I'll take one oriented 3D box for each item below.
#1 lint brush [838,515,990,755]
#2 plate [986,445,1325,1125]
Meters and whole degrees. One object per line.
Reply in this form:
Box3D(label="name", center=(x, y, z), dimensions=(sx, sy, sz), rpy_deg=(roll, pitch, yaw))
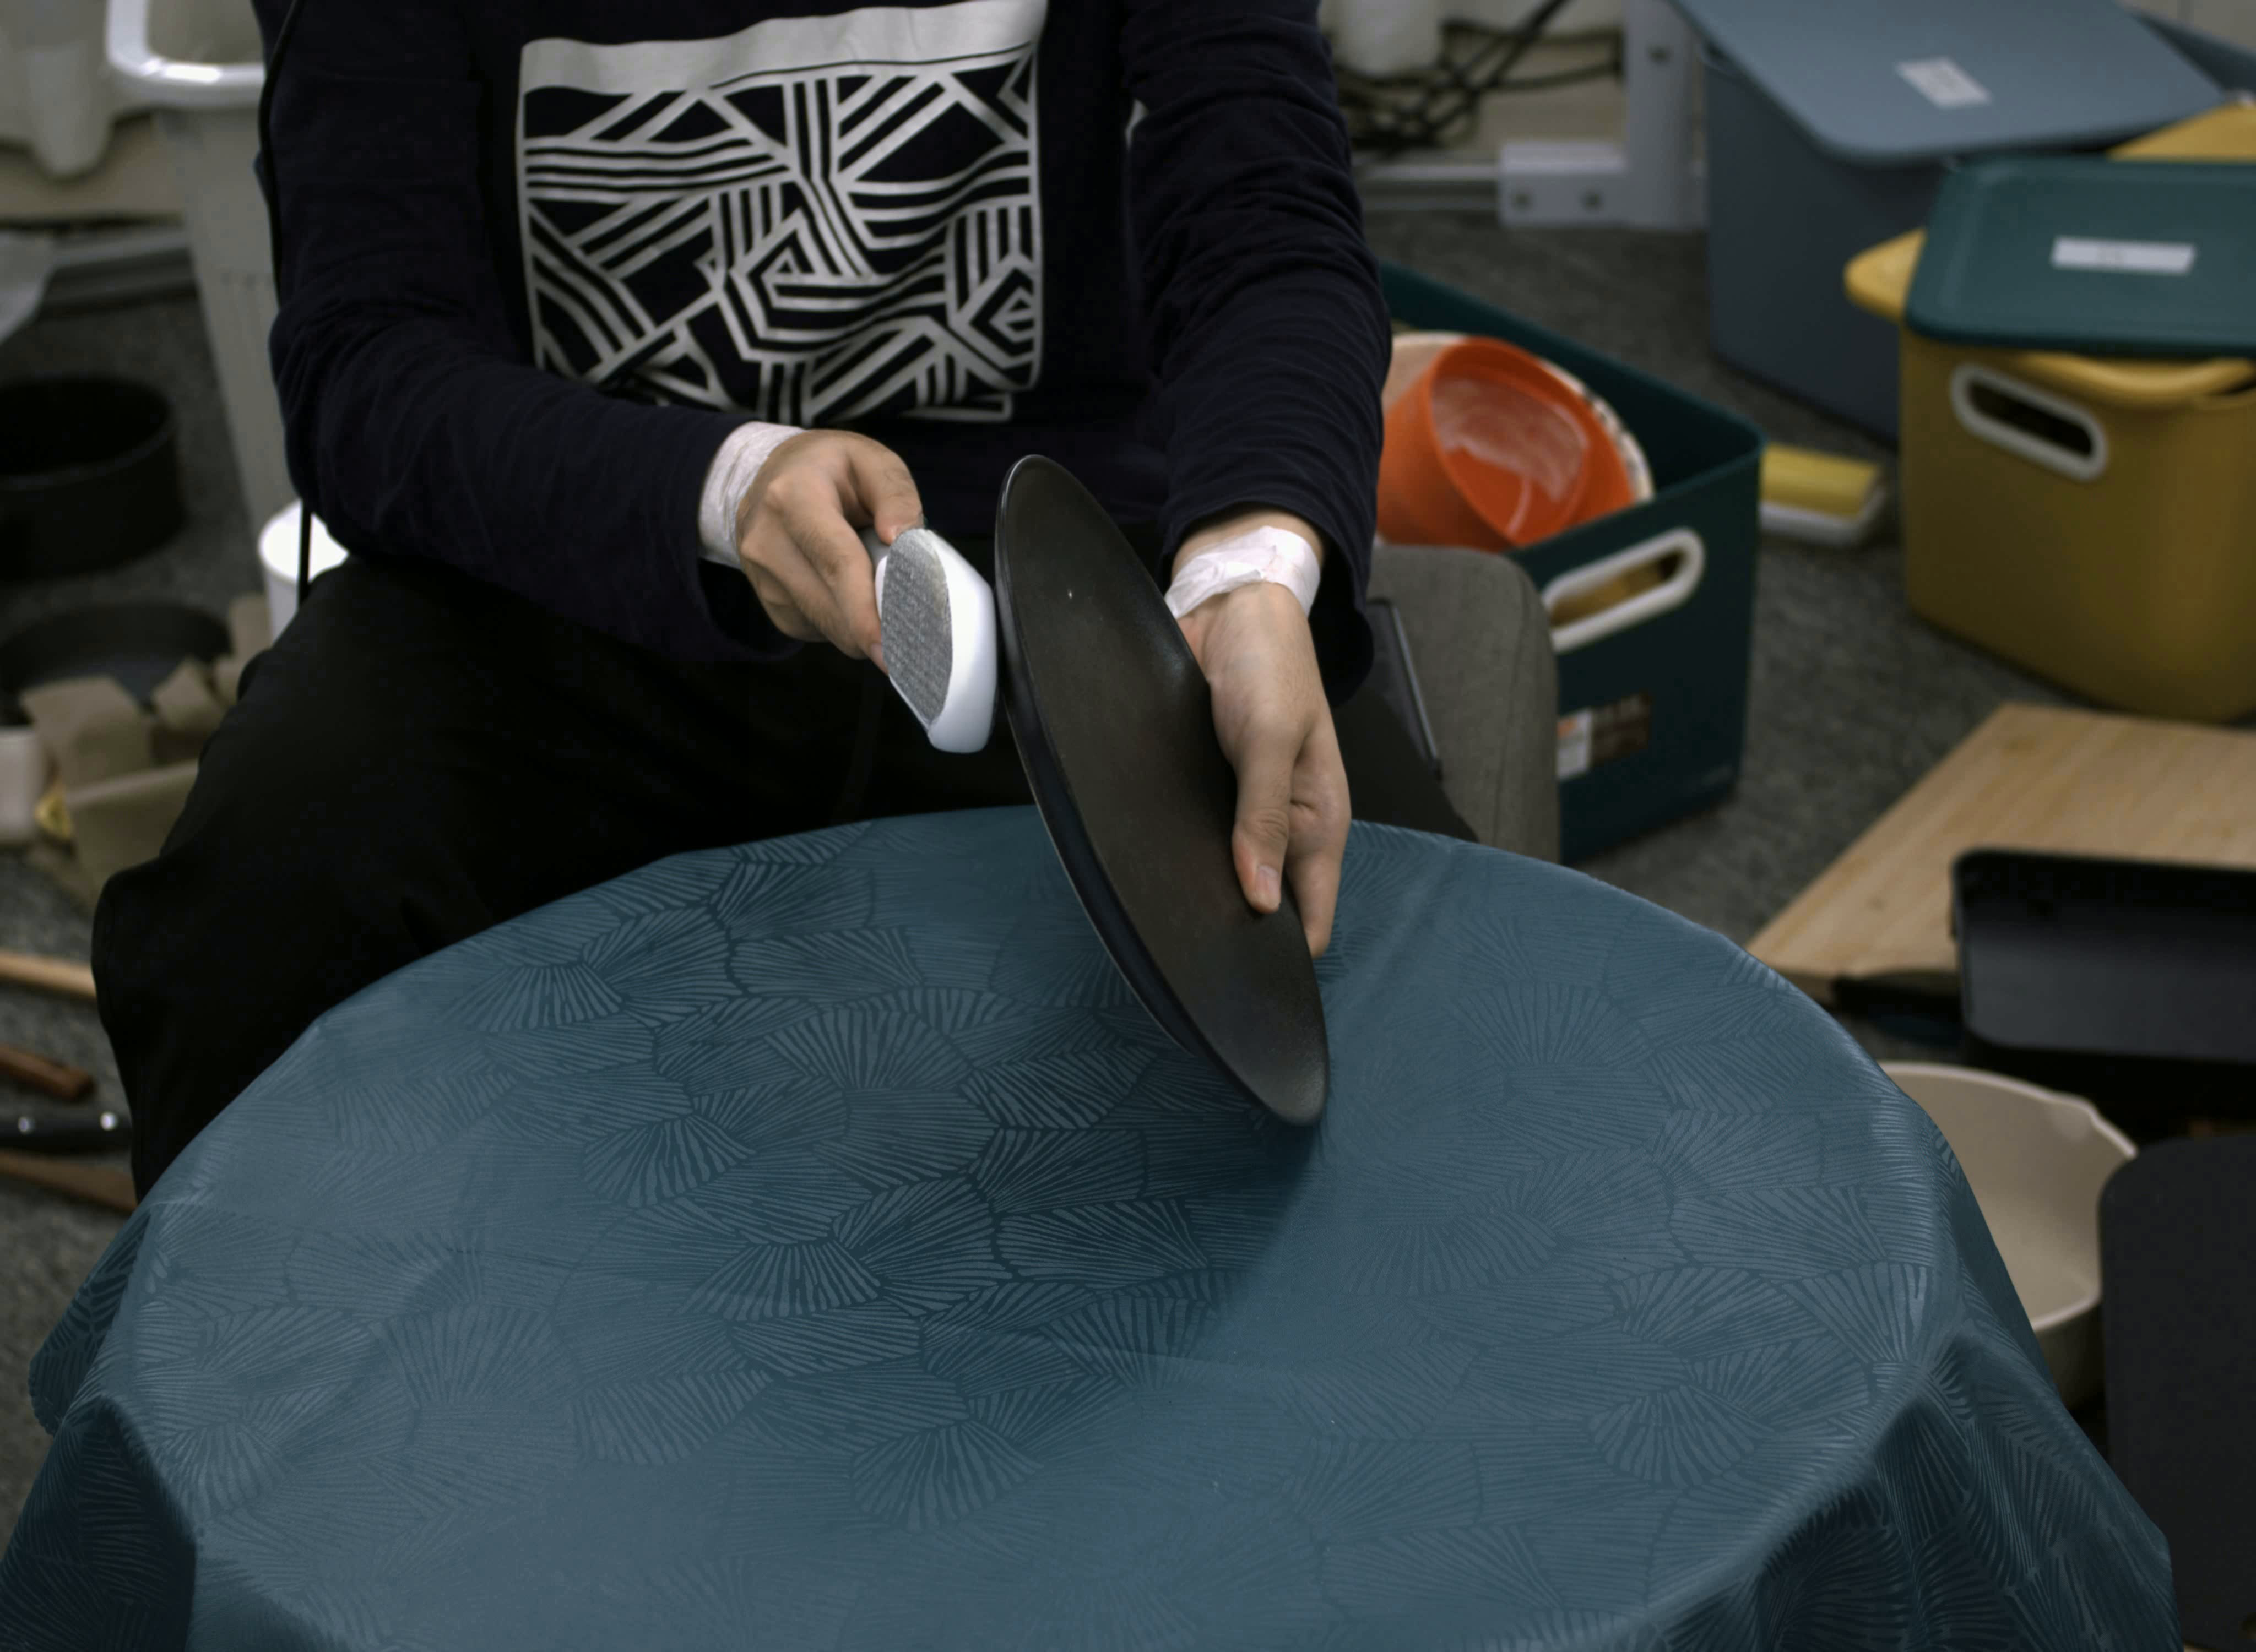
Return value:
Box3D(label="lint brush", center=(-0.076, -0.076, 1.945), dimensions=(0.021, 0.060, 0.310), rpy_deg=(-3, 11, -9))
Box3D(label="plate", center=(0.004, -0.011, 1.875), dimensions=(0.023, 0.243, 0.248), rpy_deg=(-23, 24, 14))
